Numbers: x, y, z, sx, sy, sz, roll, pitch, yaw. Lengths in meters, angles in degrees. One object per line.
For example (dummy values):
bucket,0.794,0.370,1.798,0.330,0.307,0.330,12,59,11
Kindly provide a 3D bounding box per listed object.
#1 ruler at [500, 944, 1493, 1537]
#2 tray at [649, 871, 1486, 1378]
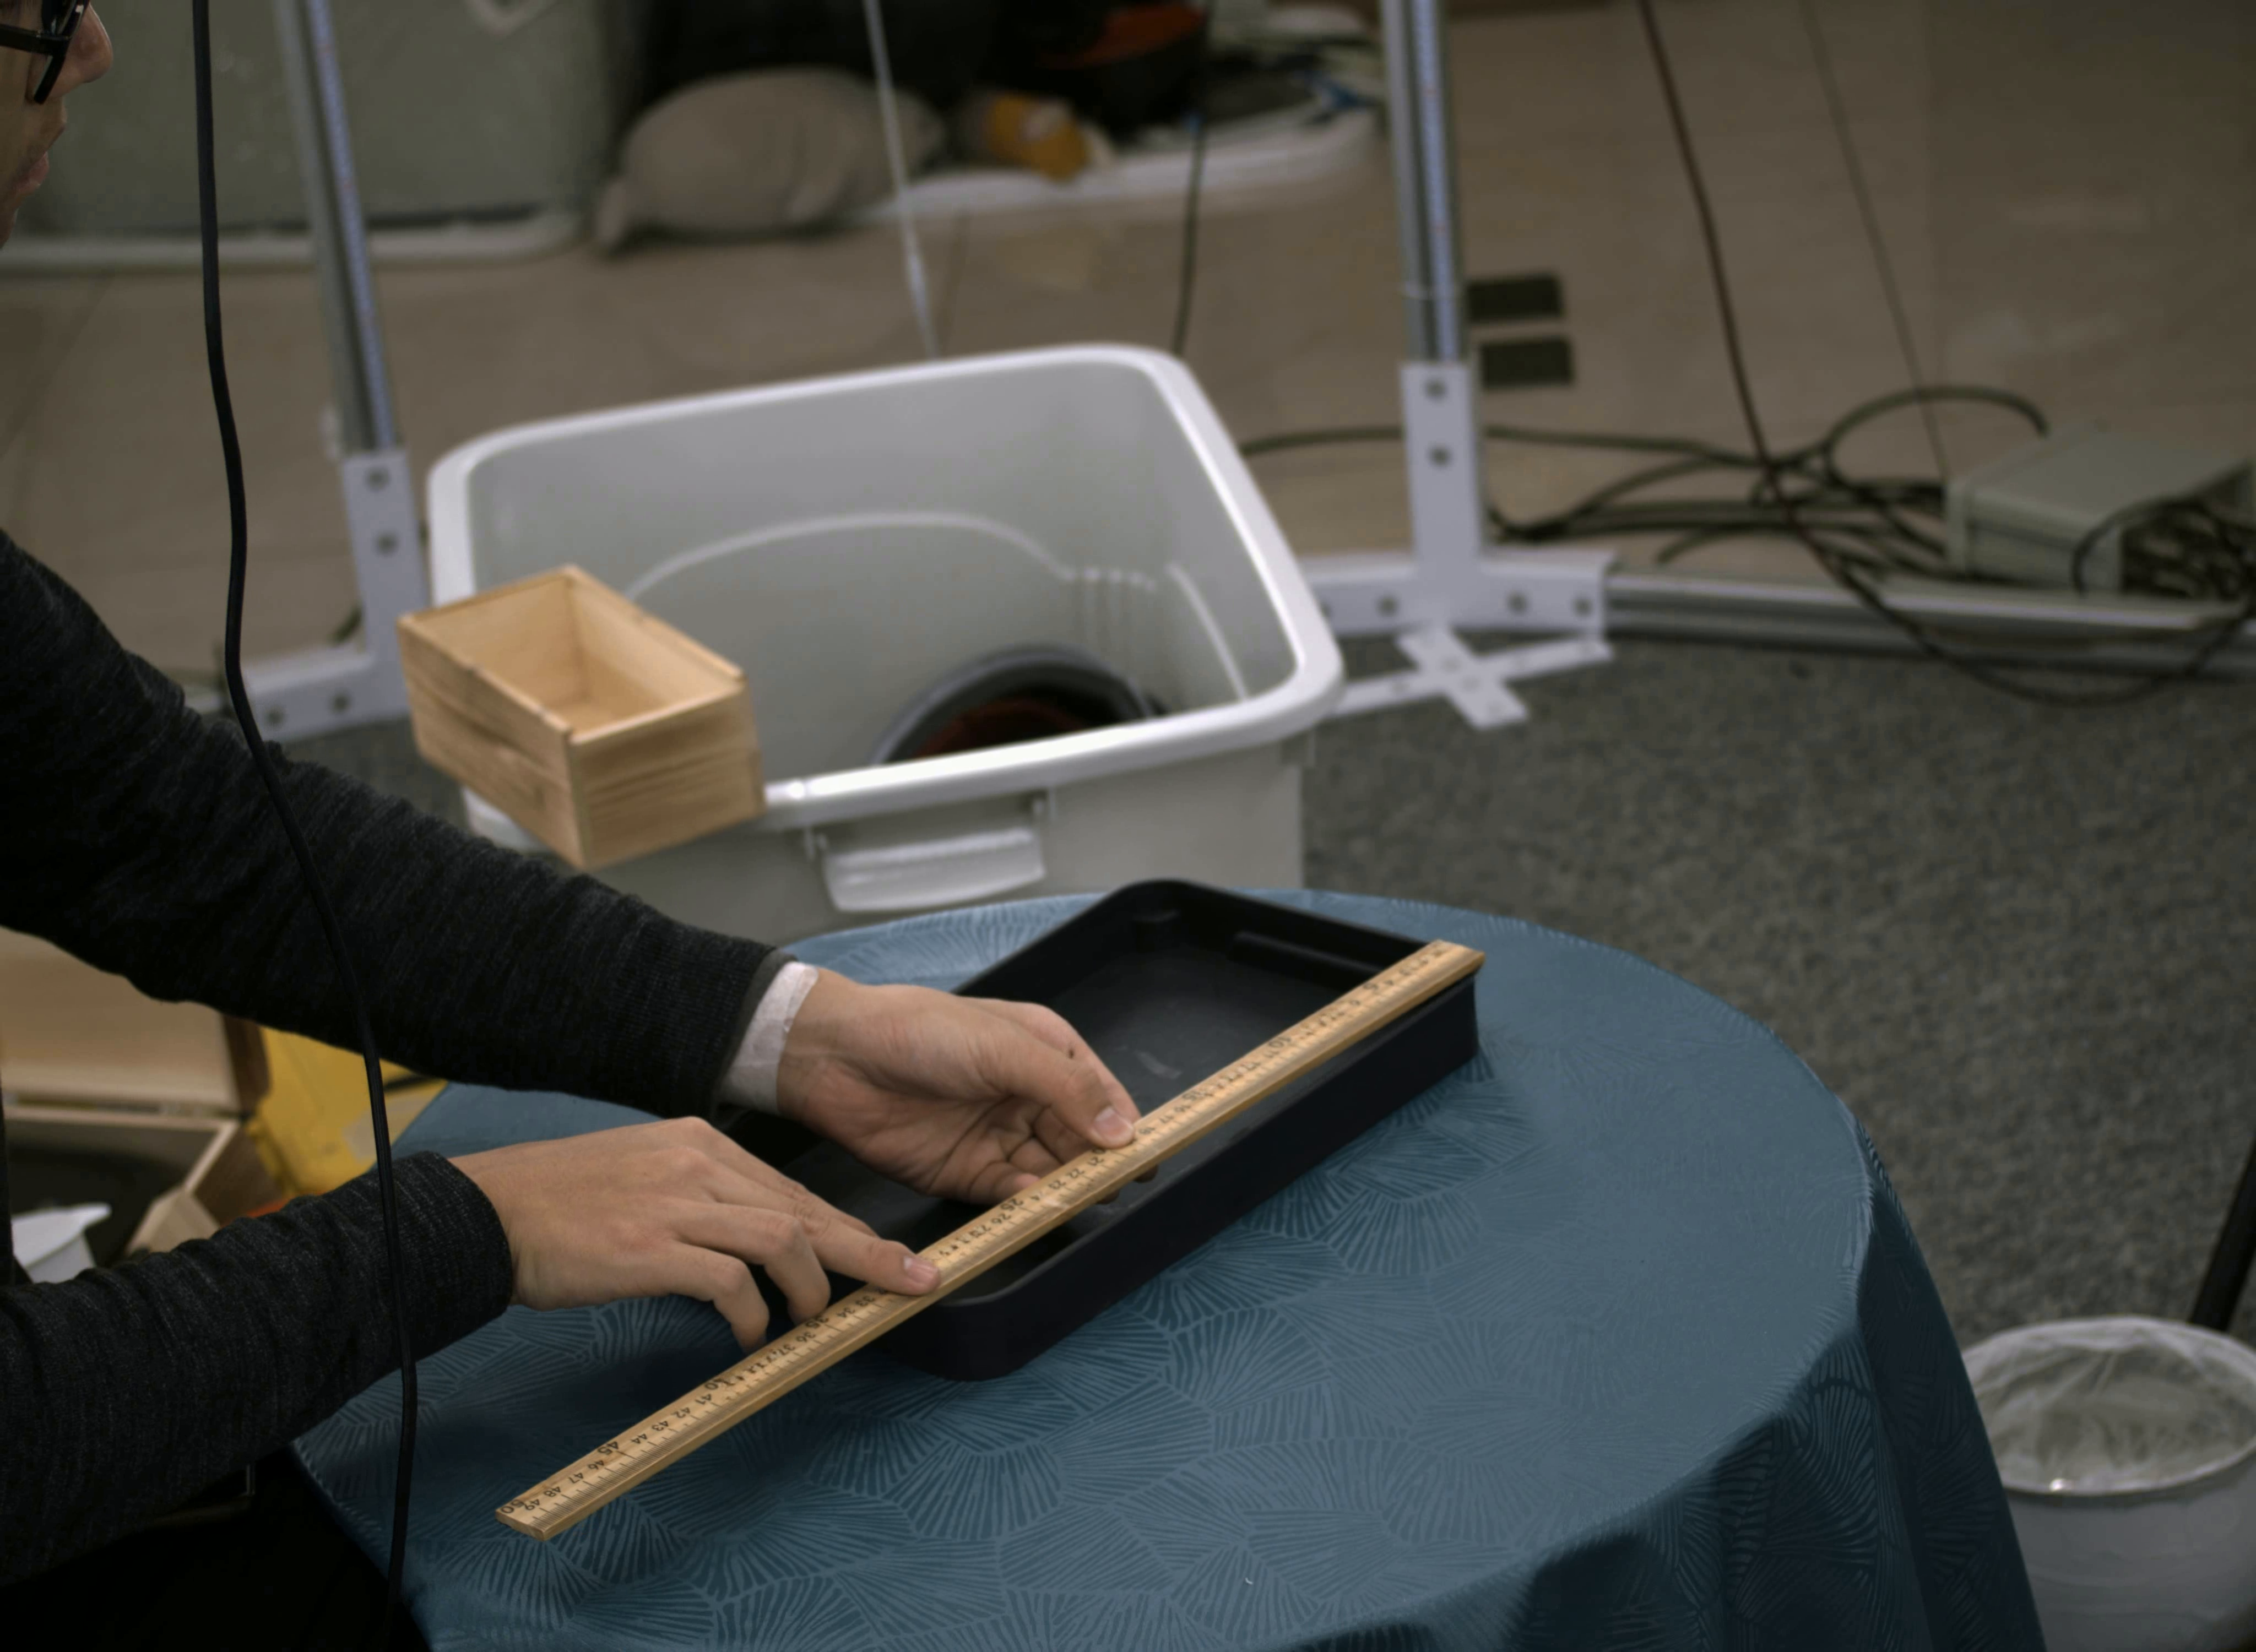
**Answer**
ruler,-0.036,0.142,2.064,0.026,0.006,0.496,15,33,42
tray,-0.018,0.108,2.176,0.183,0.037,0.315,14,32,37
